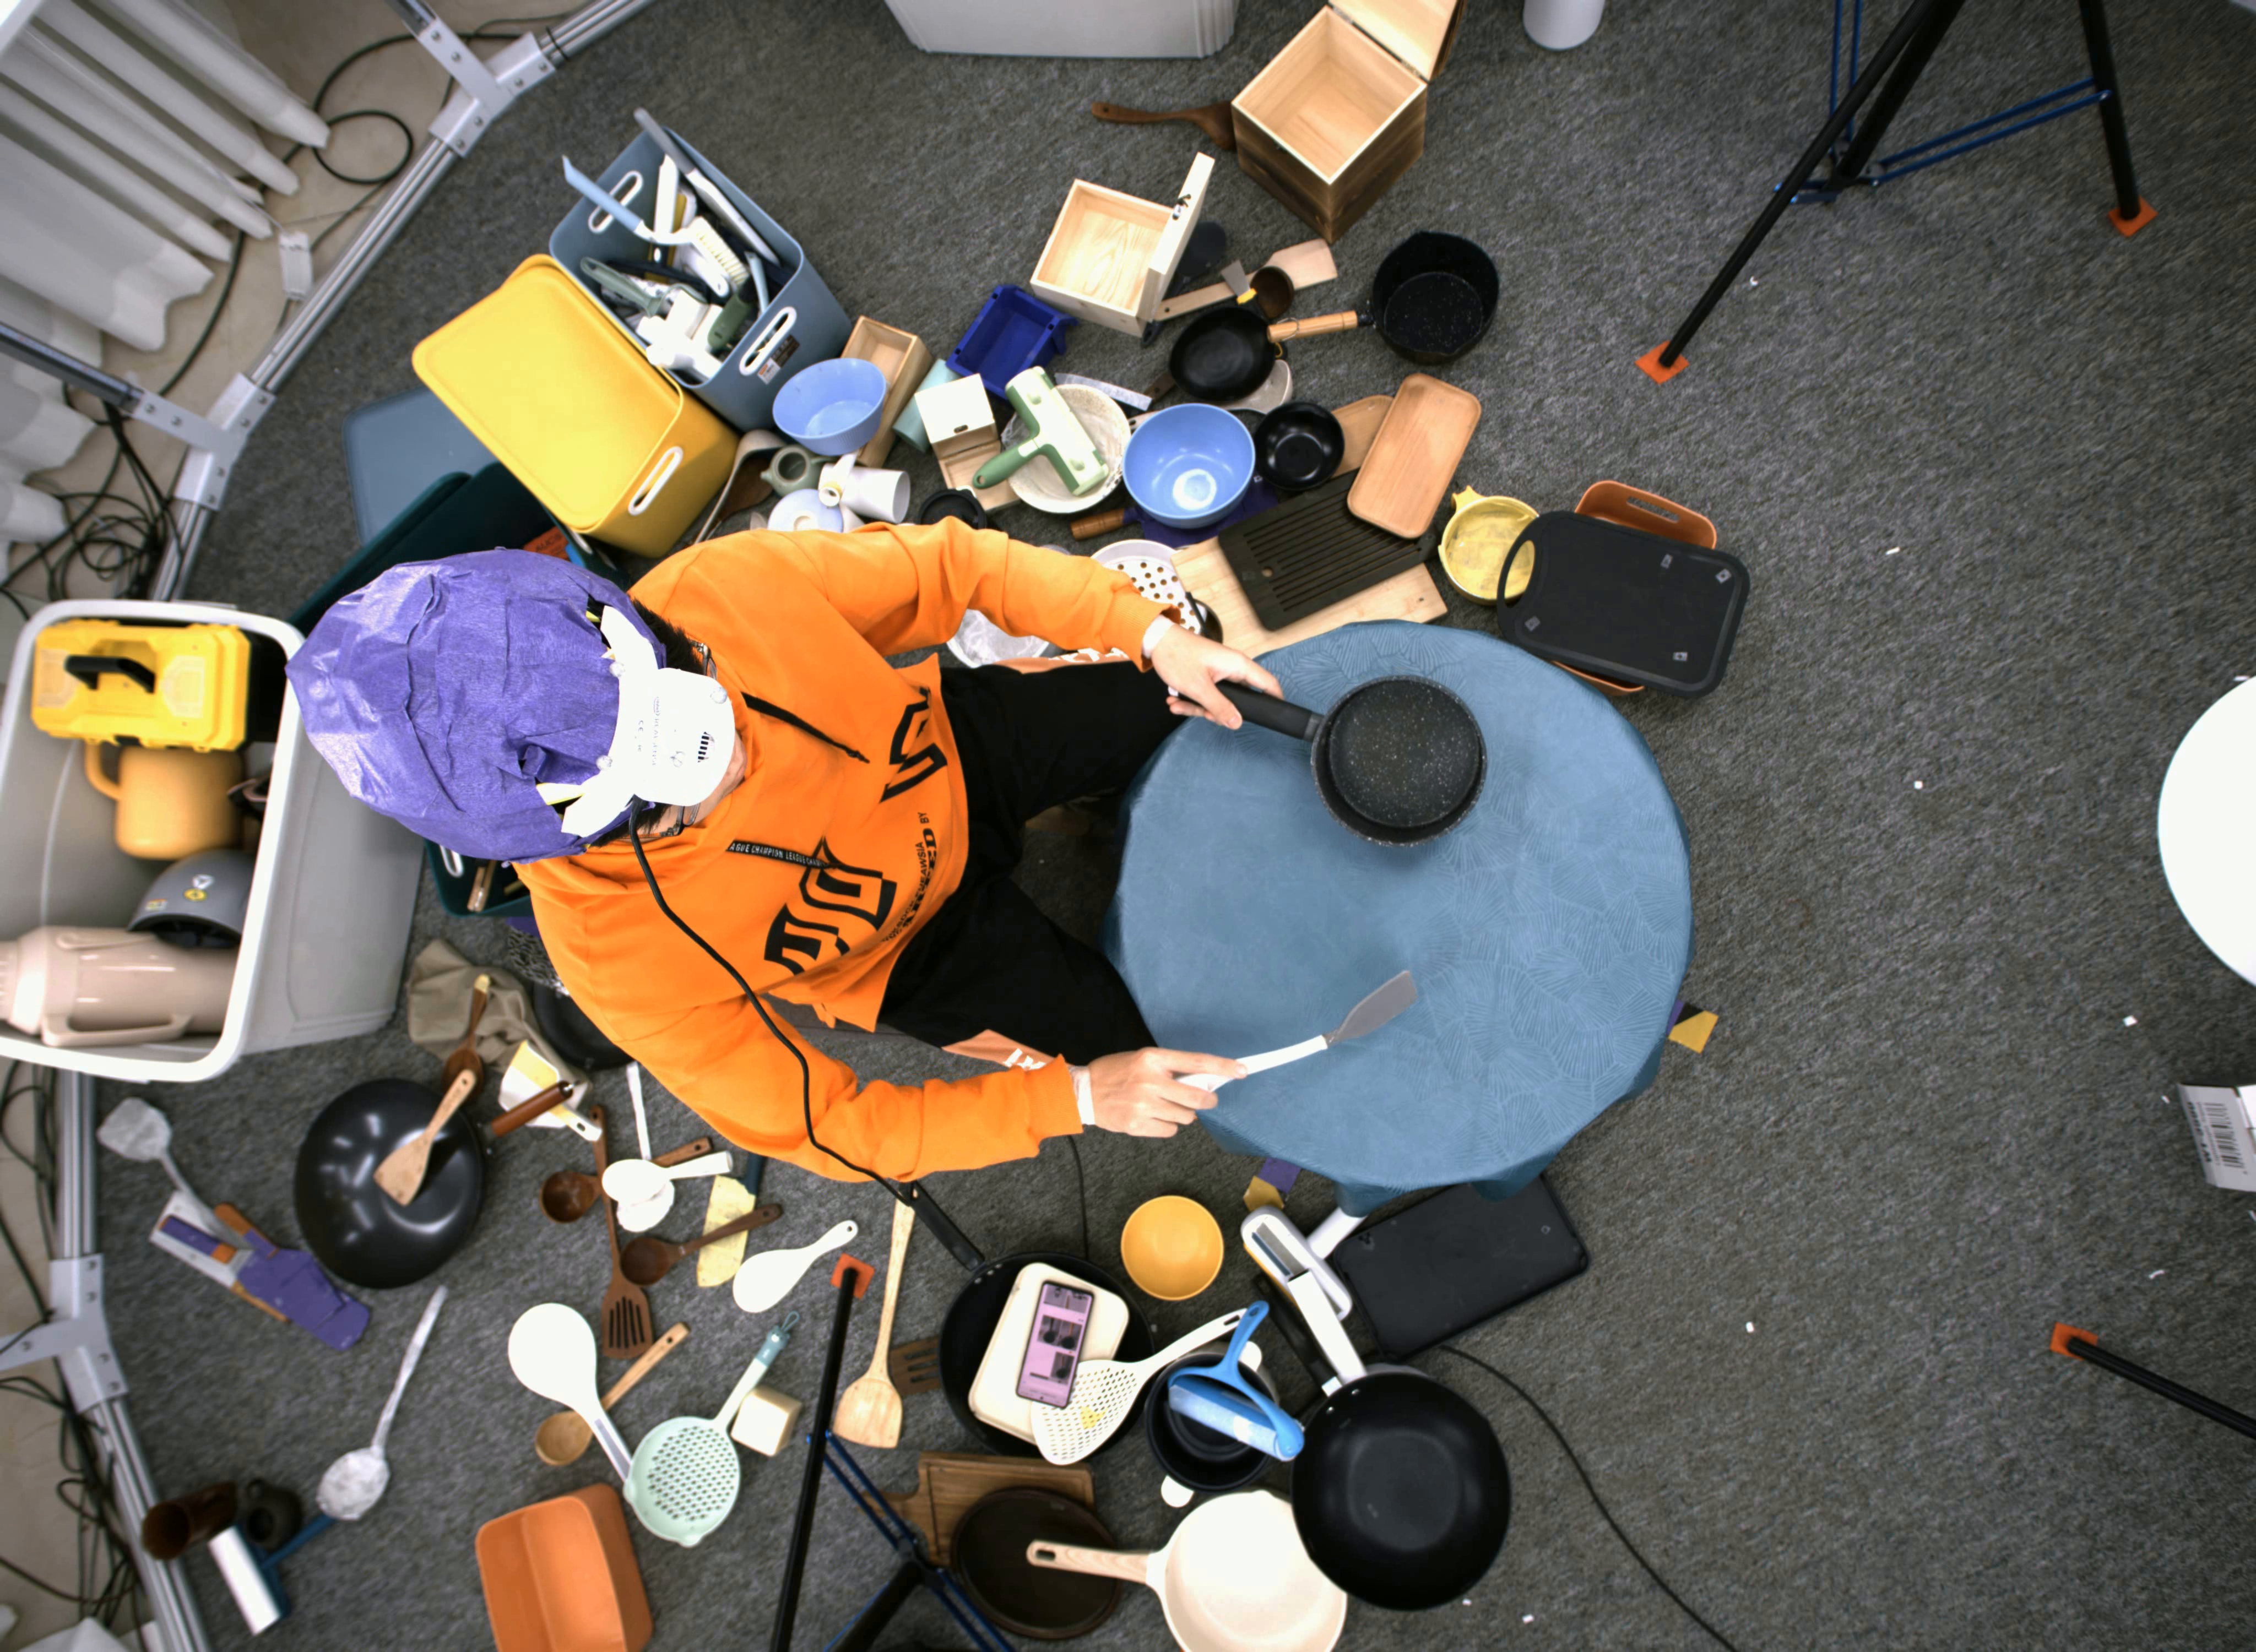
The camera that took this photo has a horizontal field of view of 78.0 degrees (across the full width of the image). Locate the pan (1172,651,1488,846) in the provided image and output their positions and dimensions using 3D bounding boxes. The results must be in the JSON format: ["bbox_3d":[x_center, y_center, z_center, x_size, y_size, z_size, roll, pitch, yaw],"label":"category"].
[{"bbox_3d":[0.203,-0.102,1.399,0.328,0.085,0.174,23,107,8],"label":"pan"}]

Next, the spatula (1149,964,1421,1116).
[{"bbox_3d":[0.158,0.214,1.369,0.288,0.031,0.060,-24,124,4],"label":"spatula"}]
